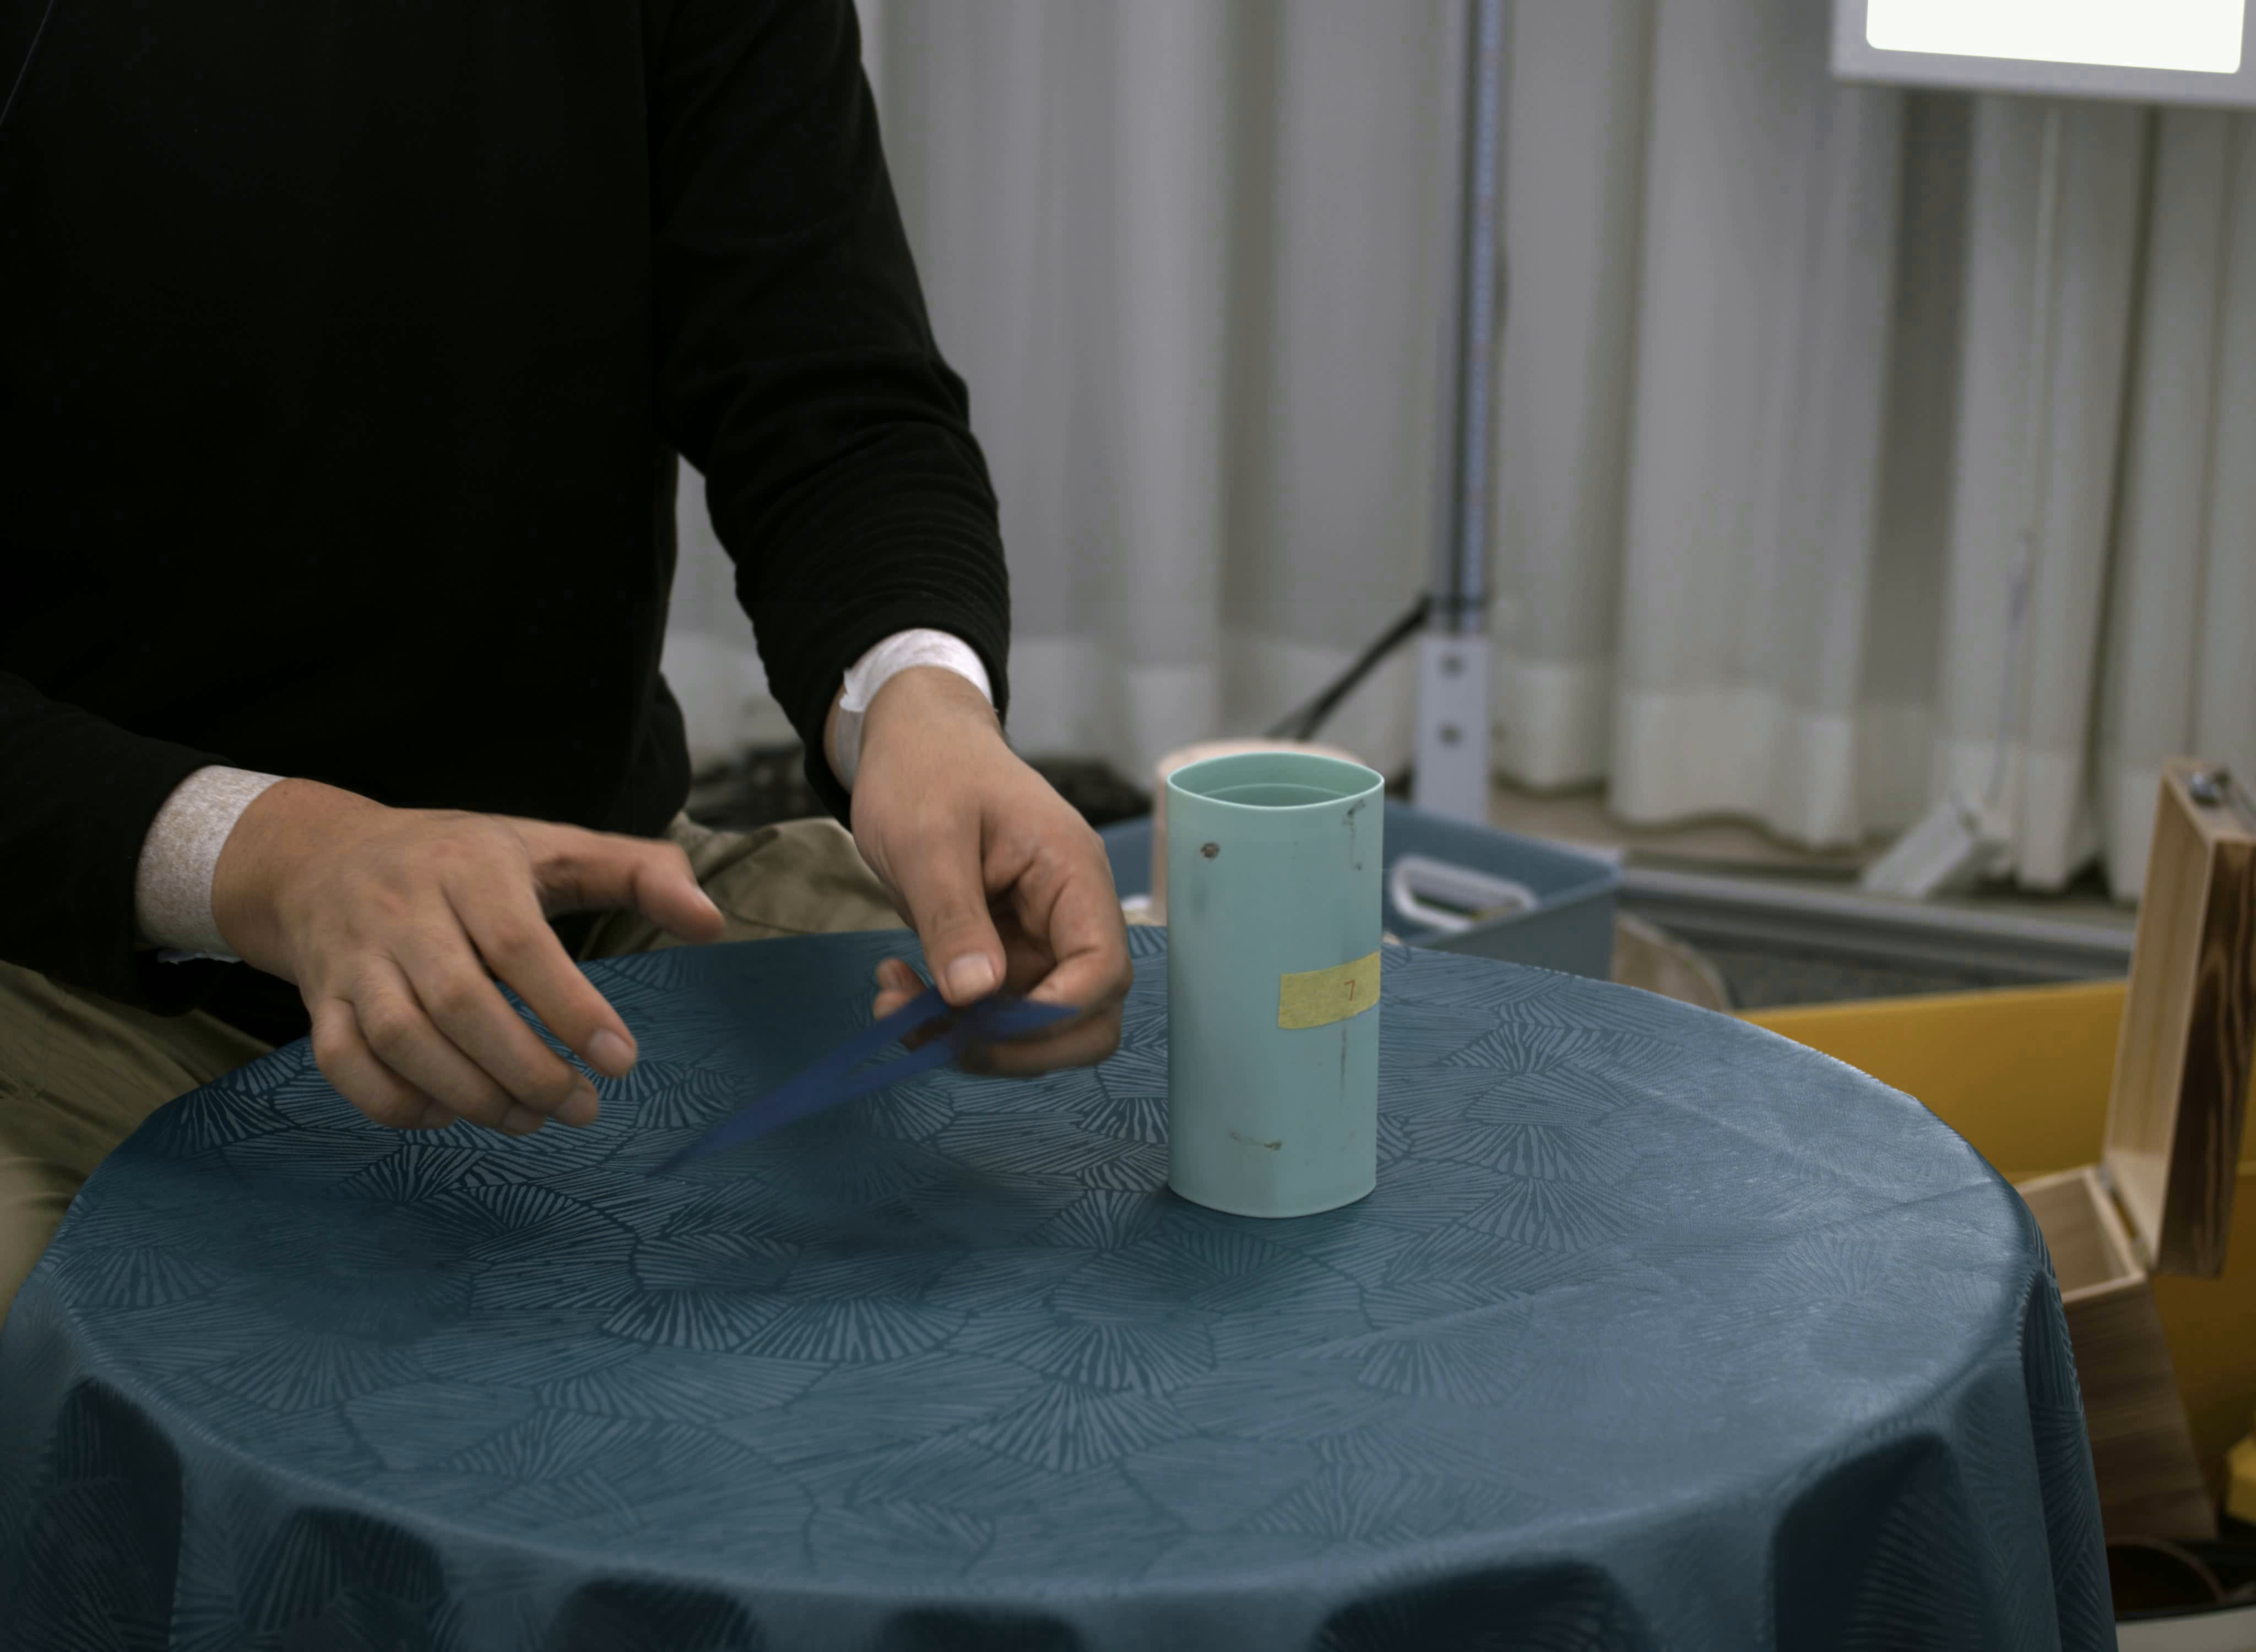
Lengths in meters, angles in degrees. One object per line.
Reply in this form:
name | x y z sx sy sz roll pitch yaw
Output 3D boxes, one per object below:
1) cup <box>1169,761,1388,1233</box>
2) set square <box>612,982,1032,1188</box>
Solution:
cup | 0.044 0.051 1.611 0.066 0.133 0.066 1 17 0
set square | -0.093 0.072 1.569 0.131 0.006 0.060 -21 27 2
